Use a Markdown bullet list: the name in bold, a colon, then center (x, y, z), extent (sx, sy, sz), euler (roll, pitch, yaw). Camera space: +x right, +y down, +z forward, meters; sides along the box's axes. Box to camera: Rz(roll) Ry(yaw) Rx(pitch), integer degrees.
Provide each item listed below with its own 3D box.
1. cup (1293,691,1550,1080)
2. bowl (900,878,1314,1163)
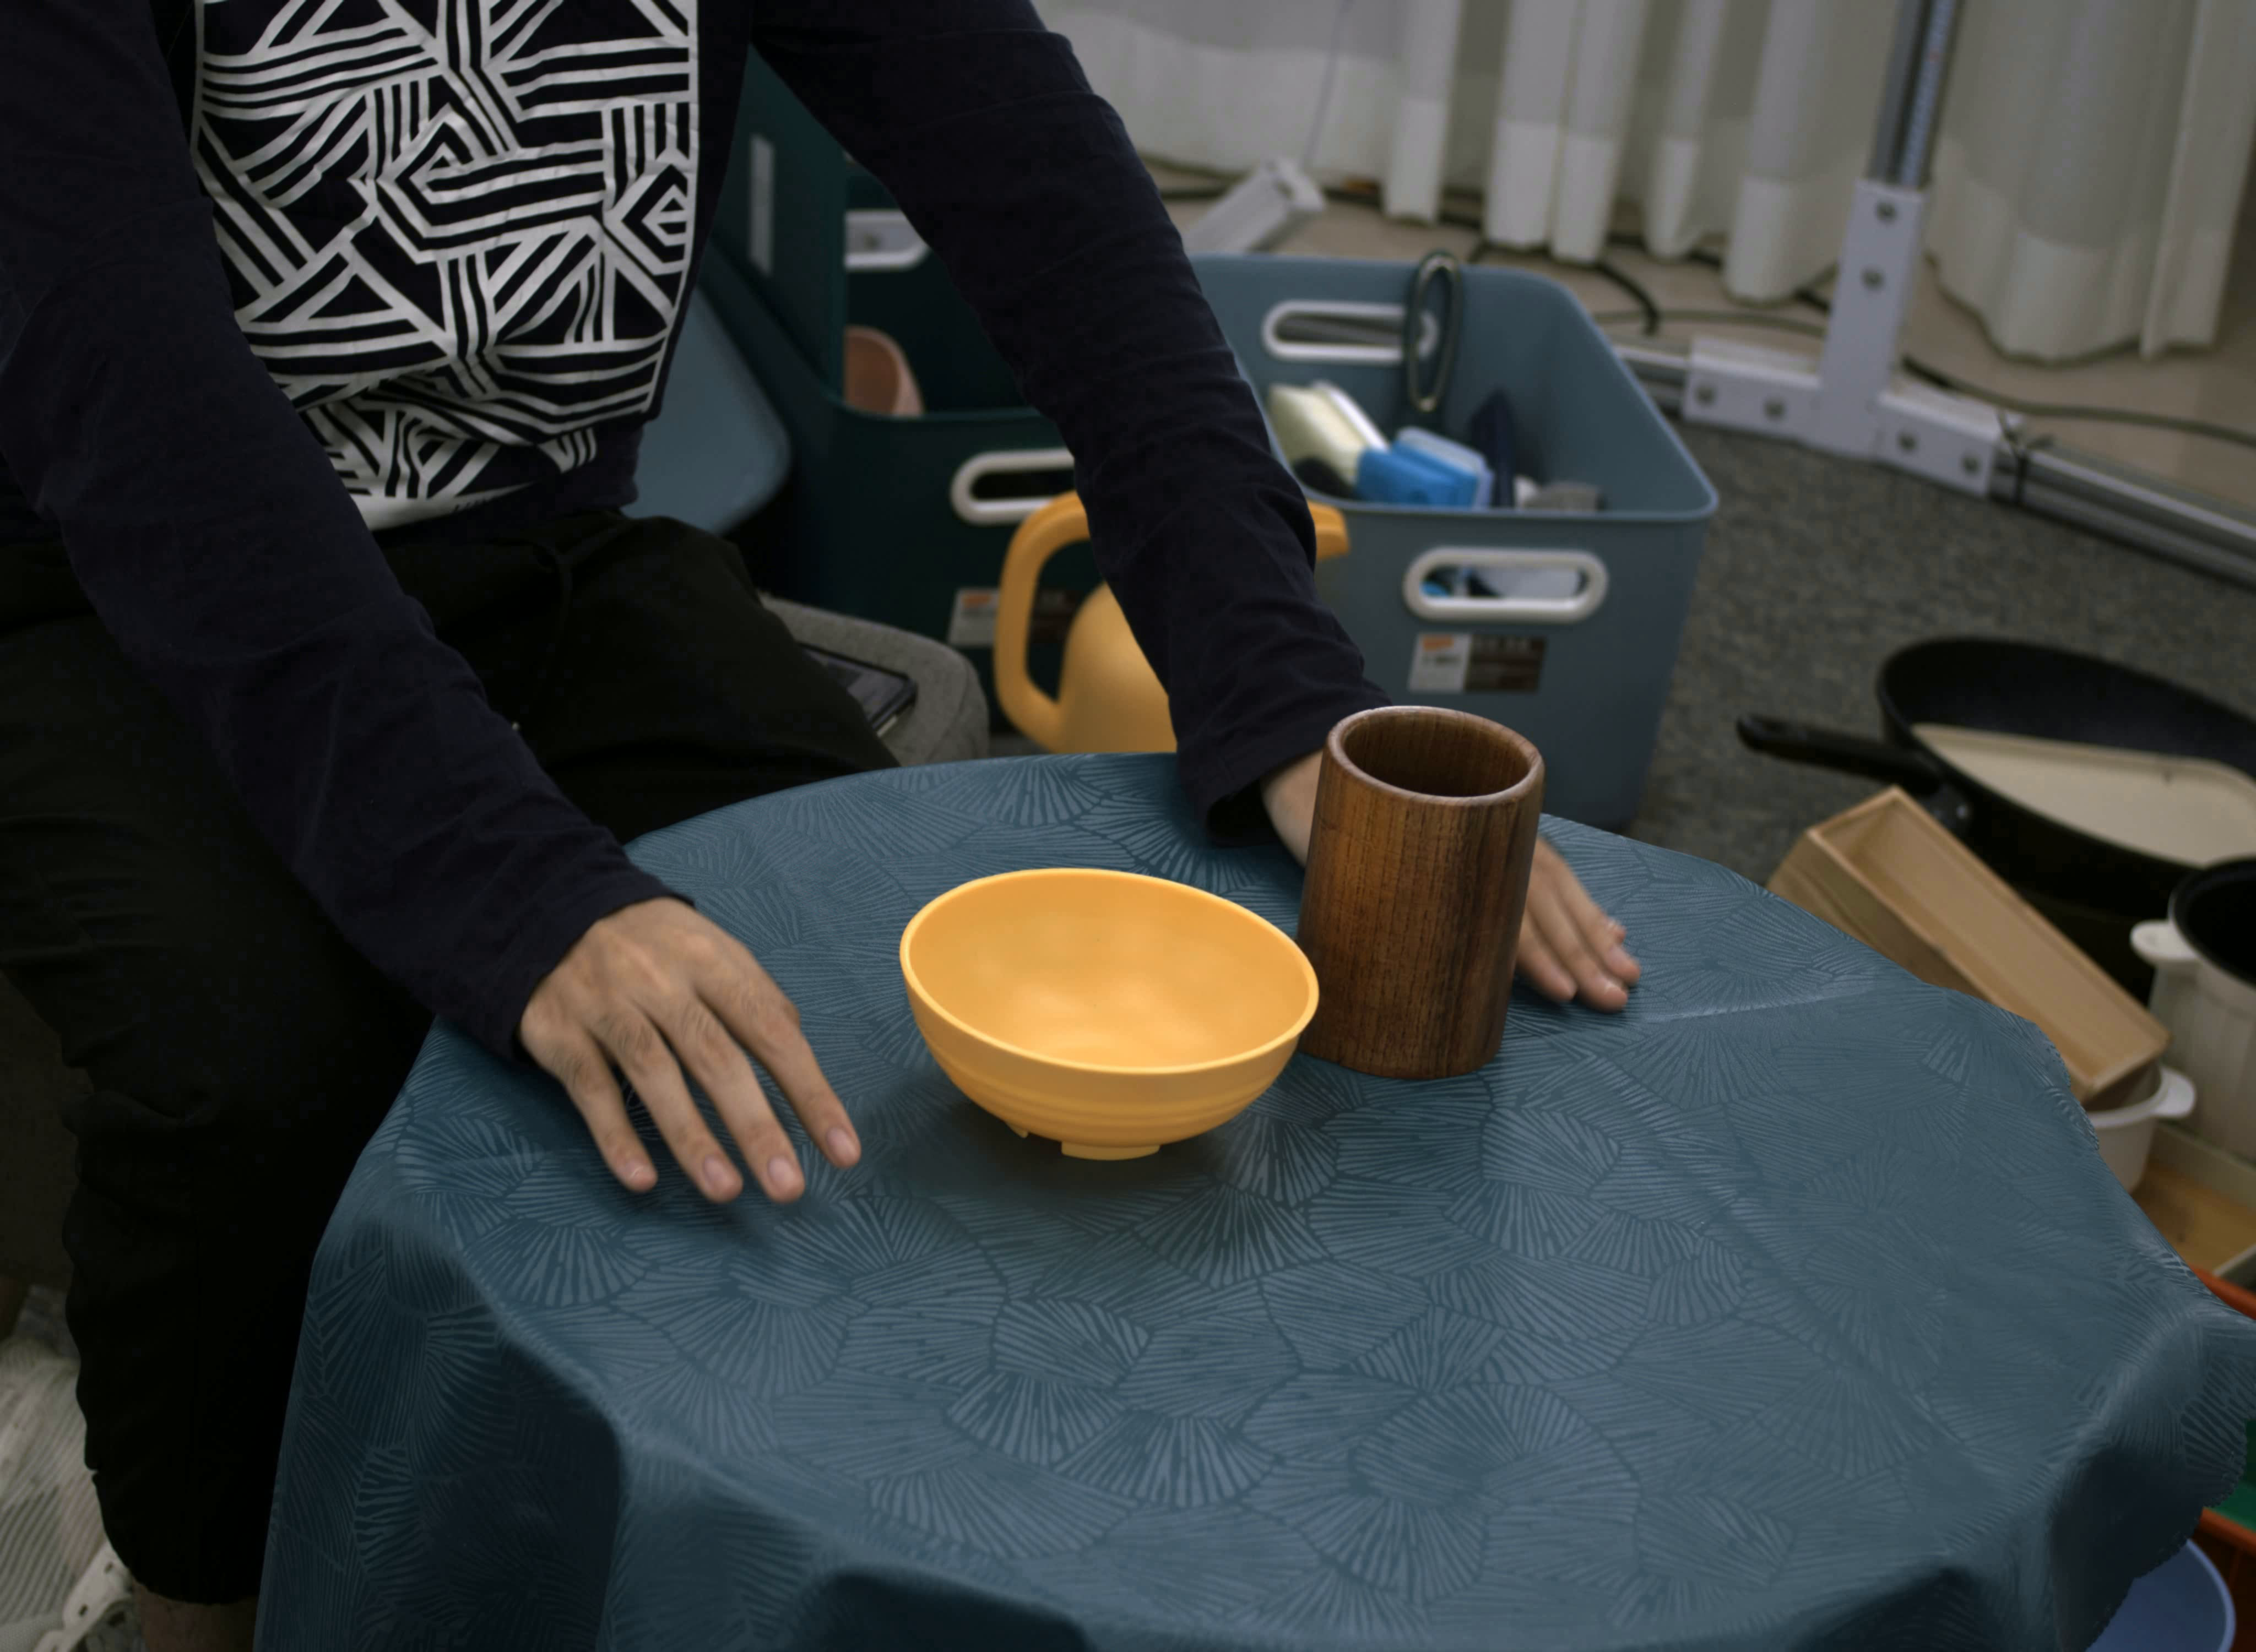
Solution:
- **cup**: center (0.102, 0.021, 1.901), extent (0.087, 0.118, 0.088), euler (6, 25, -3)
- **bowl**: center (-0.010, 0.075, 1.837), extent (0.145, 0.060, 0.146), euler (5, 25, -3)
